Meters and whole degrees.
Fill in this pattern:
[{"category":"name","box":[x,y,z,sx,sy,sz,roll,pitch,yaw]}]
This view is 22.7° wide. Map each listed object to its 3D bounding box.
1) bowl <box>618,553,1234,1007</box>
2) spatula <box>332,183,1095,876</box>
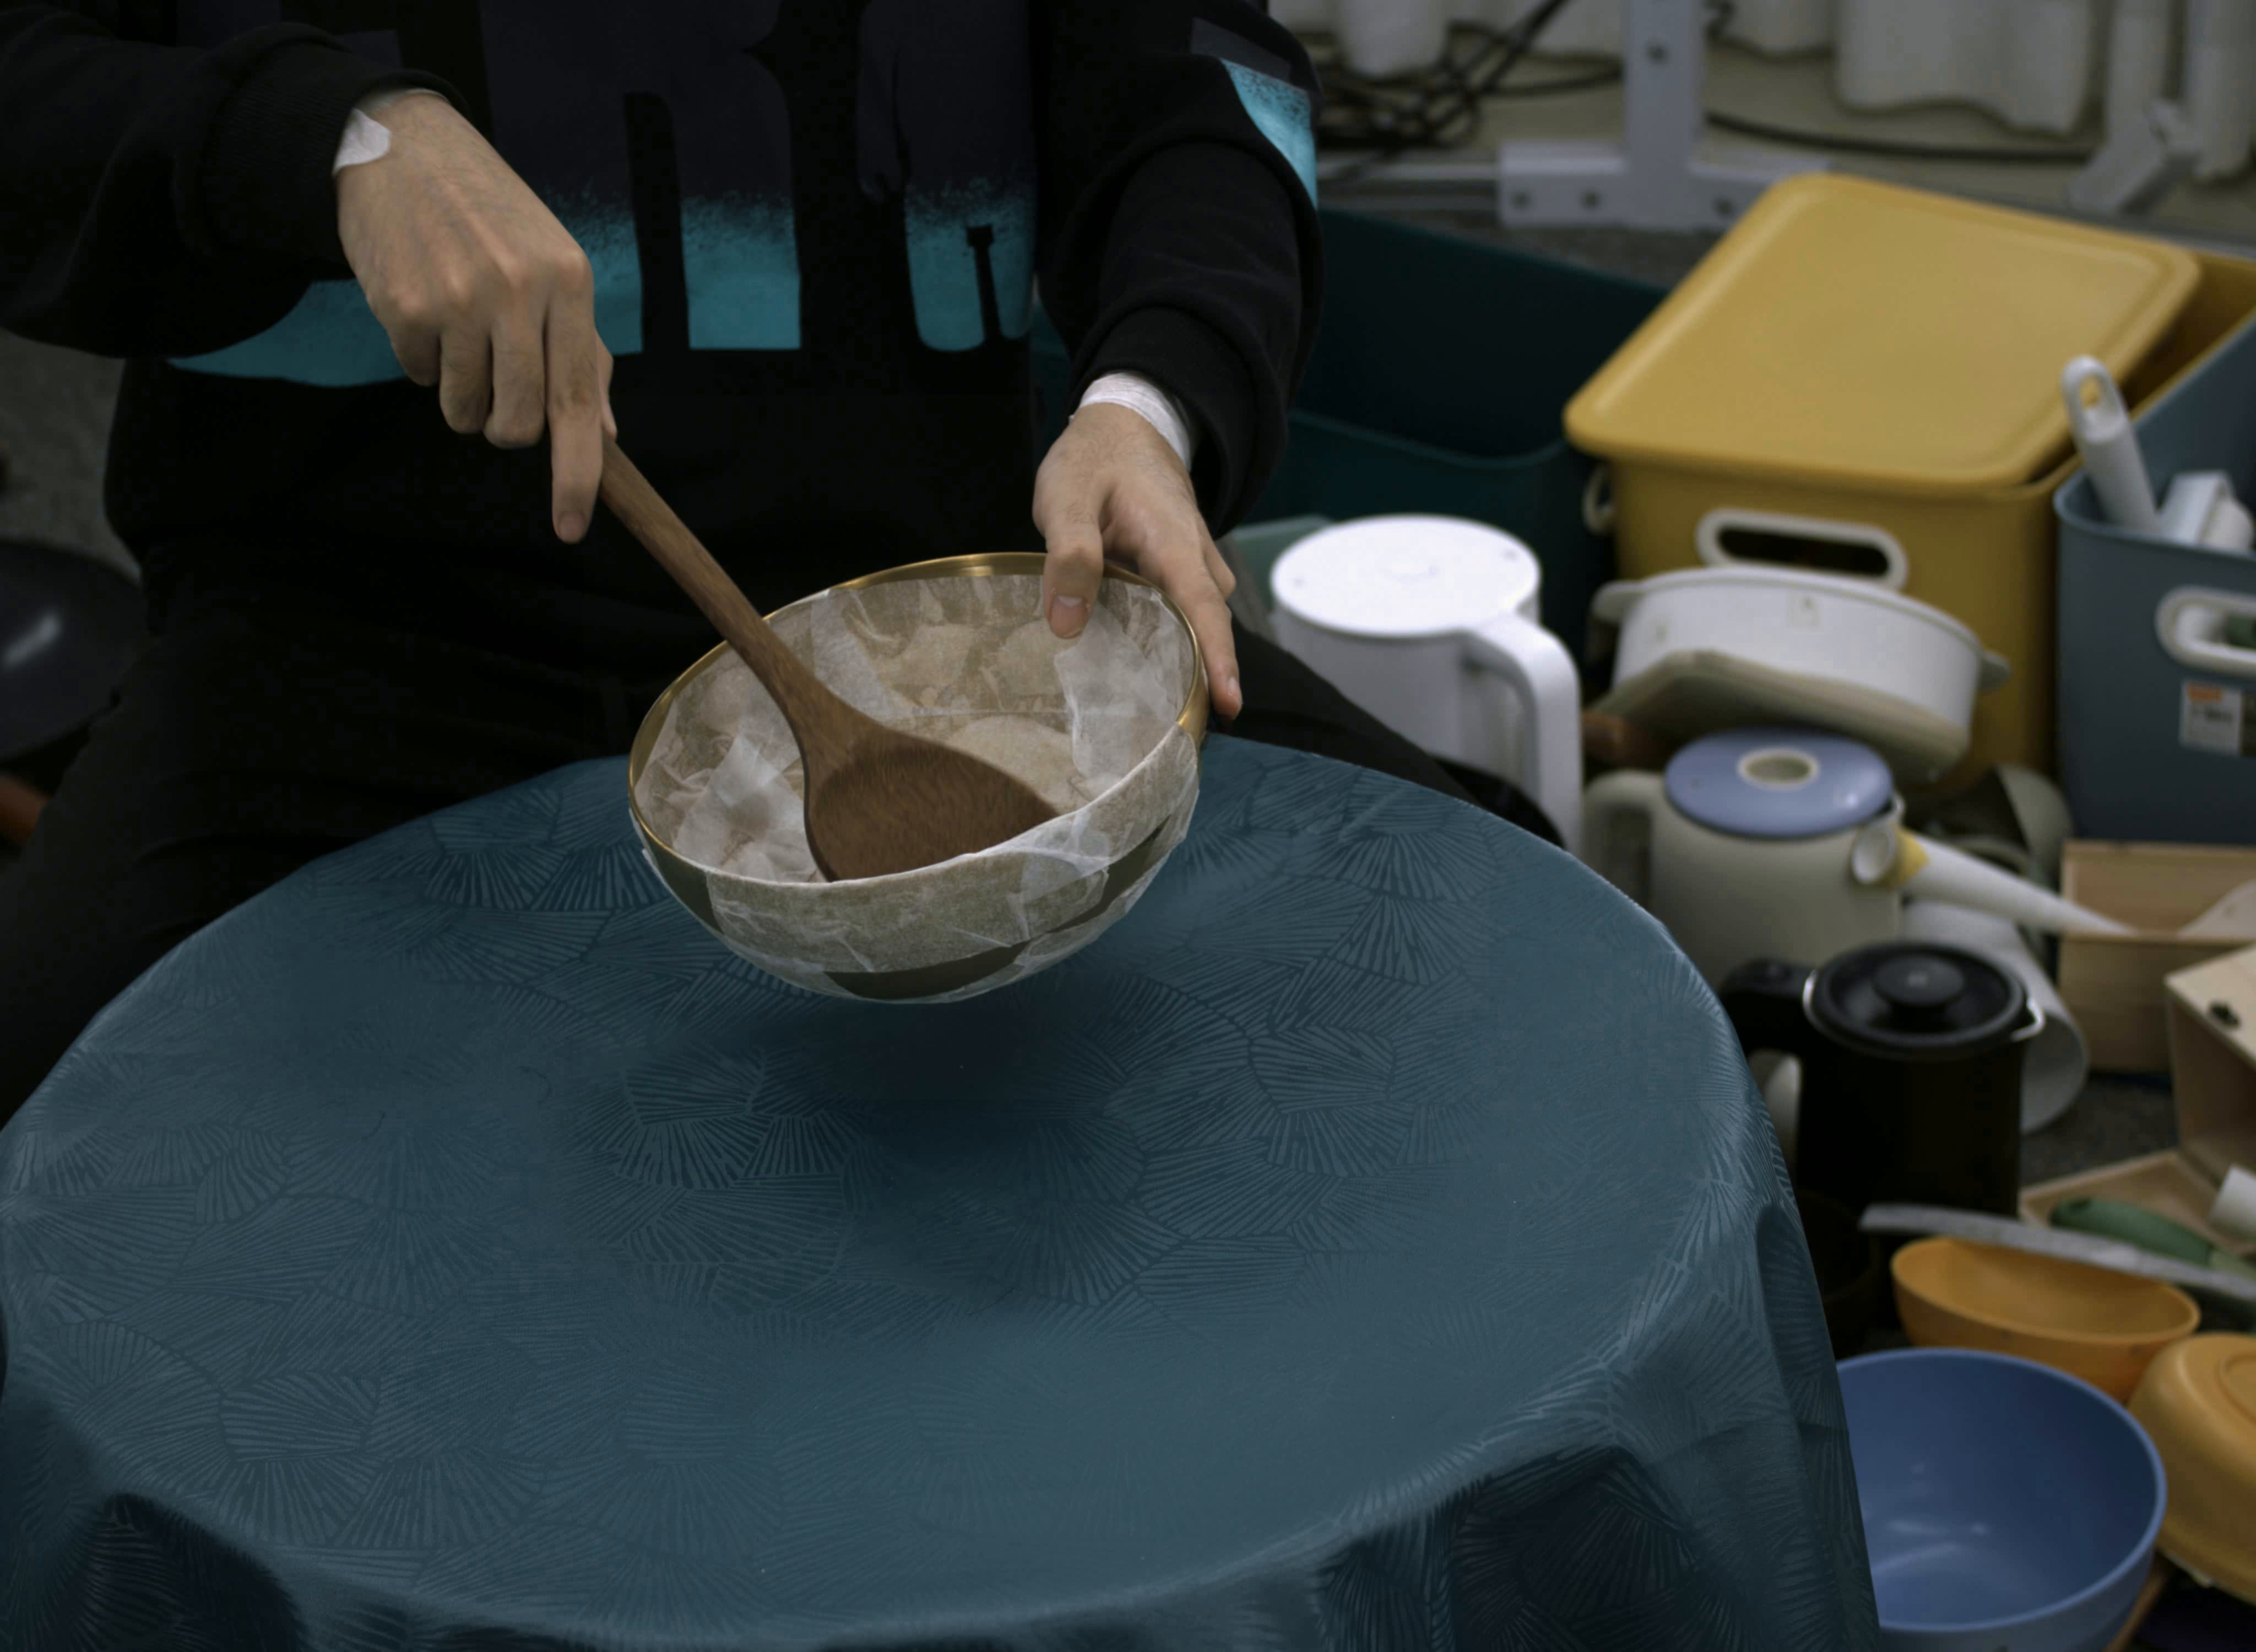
[{"category":"bowl","box":[-0.060,-0.003,1.906,0.213,0.093,0.218,-12,29,7]},{"category":"spatula","box":[-0.154,-0.096,1.930,0.097,0.015,0.388,-24,62,-40]}]
